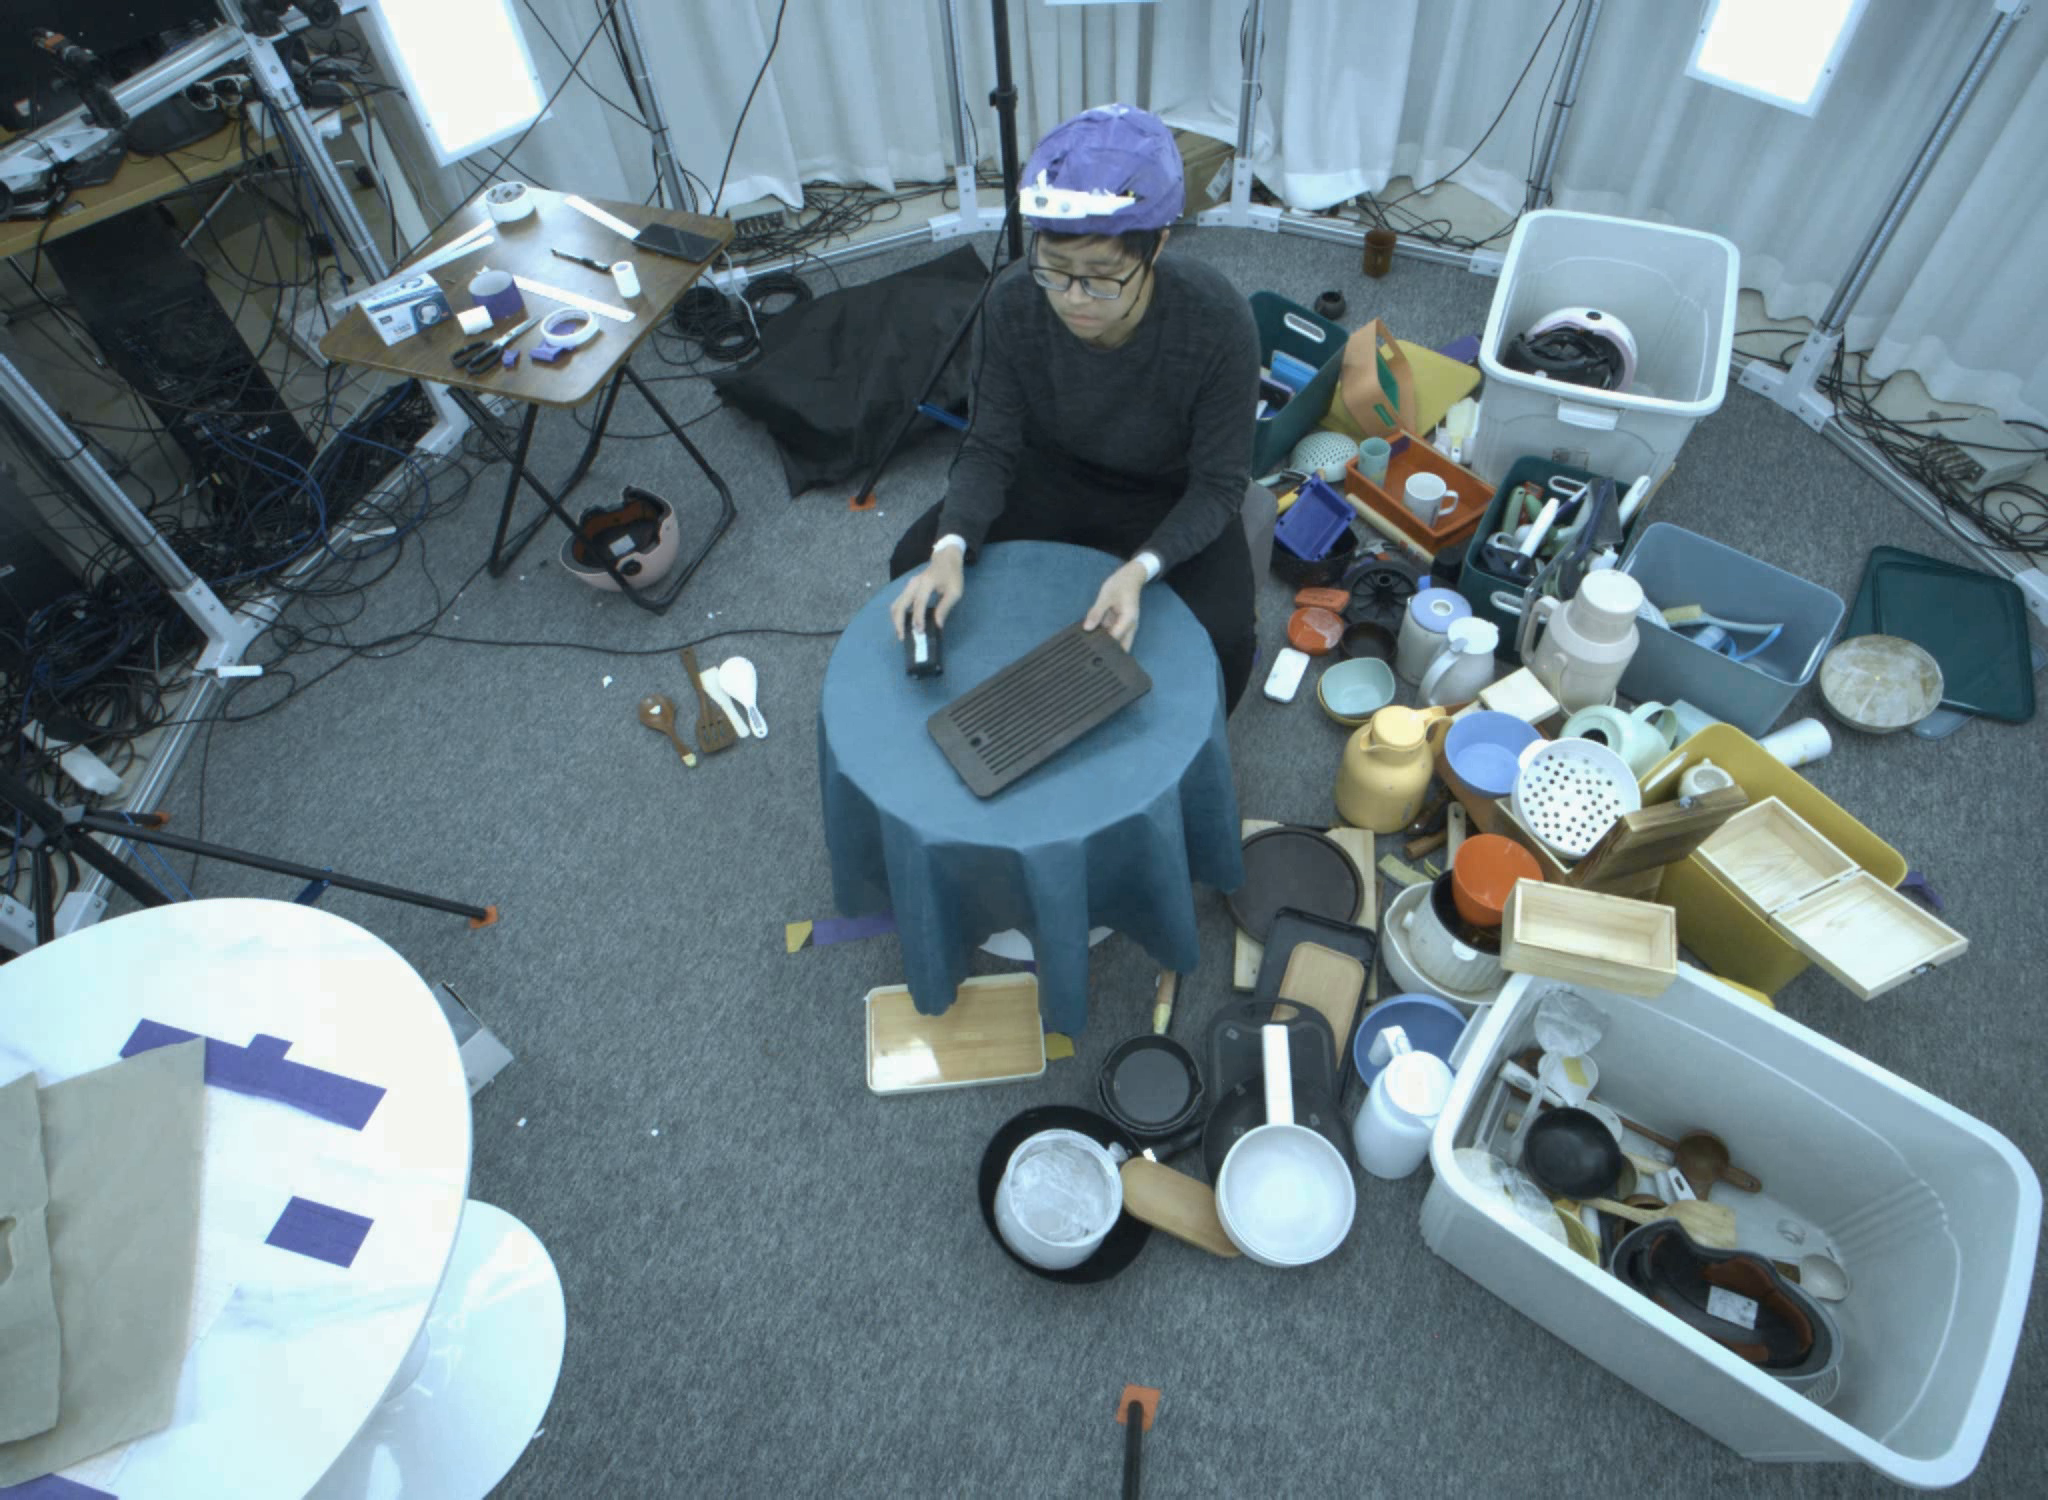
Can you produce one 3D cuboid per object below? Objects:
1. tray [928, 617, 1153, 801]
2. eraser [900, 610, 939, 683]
[{"bbox_3d":[0.024,-0.062,1.795,0.307,0.019,0.167,-33,61,-10],"label":"tray"},{"bbox_3d":[-0.158,-0.157,1.855,0.053,0.031,0.124,-10,51,3],"label":"eraser"}]
